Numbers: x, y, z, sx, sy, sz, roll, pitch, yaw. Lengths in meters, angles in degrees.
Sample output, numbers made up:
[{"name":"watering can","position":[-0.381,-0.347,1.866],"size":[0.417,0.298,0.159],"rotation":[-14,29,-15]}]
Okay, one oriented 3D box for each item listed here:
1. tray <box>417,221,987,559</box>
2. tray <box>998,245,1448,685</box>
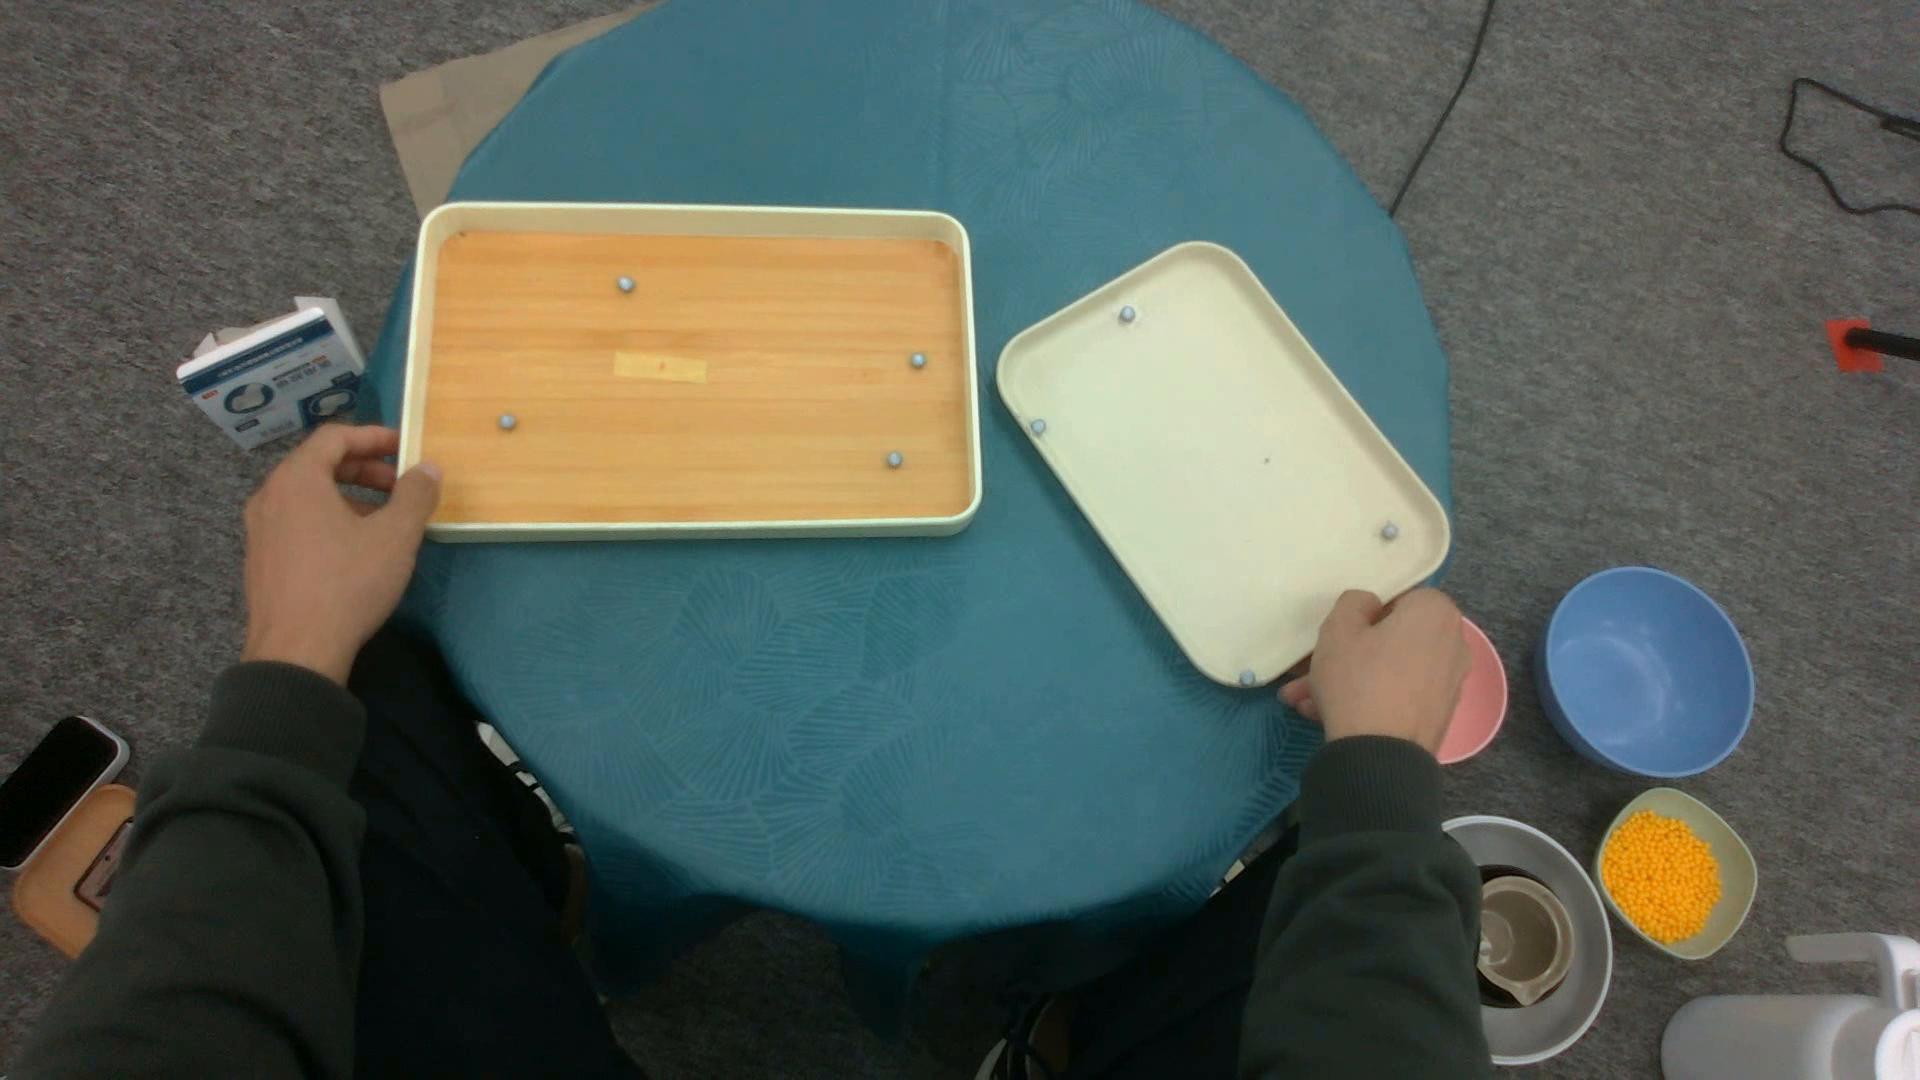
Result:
[{"name":"tray","position":[-0.139,-0.087,0.767],"size":[0.300,0.027,0.192],"rotation":[-2,72,-5]},{"name":"tray","position":[0.146,-0.047,0.779],"size":[0.171,0.017,0.240],"rotation":[-32,75,-14]}]
